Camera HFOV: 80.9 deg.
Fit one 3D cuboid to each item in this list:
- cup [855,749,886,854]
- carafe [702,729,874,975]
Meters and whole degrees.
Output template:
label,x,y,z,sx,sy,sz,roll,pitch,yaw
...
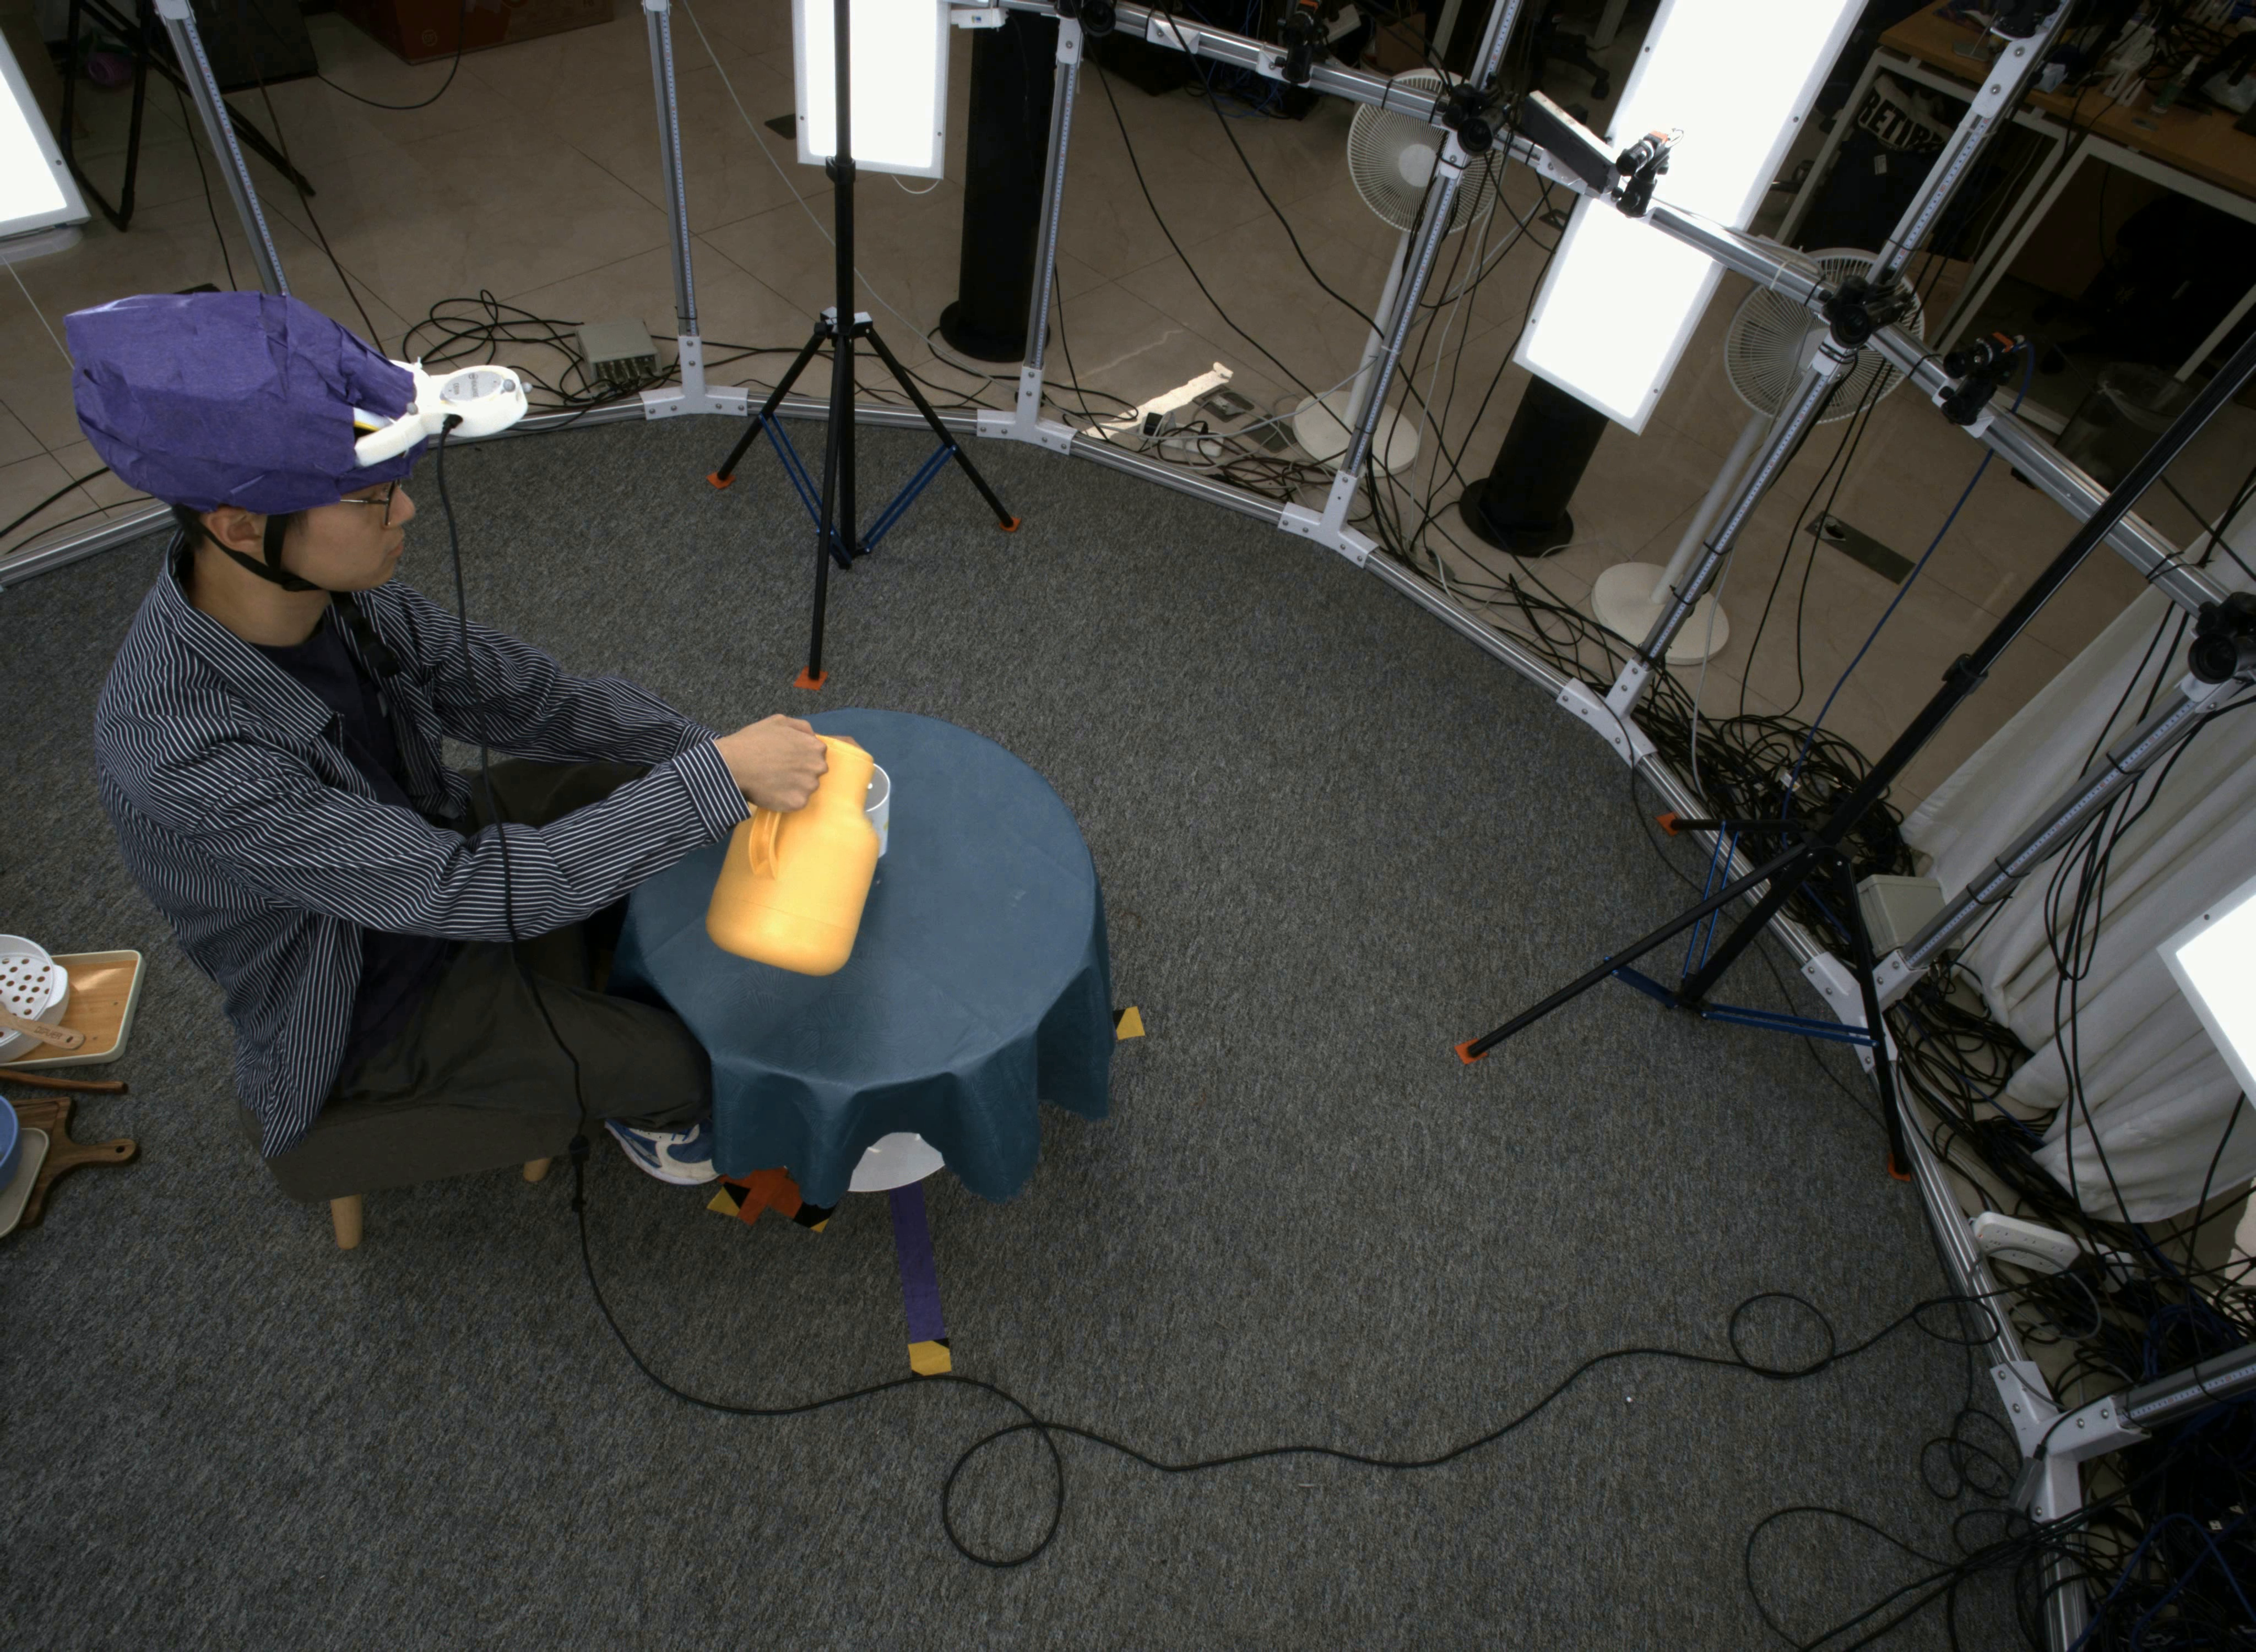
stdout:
label,x,y,z,sx,sy,sz,roll,pitch,yaw
cup,-0.344,-0.027,1.643,0.081,0.128,0.080,4,55,-5
carafe,-0.375,0.022,1.443,0.160,0.205,0.262,14,83,9
